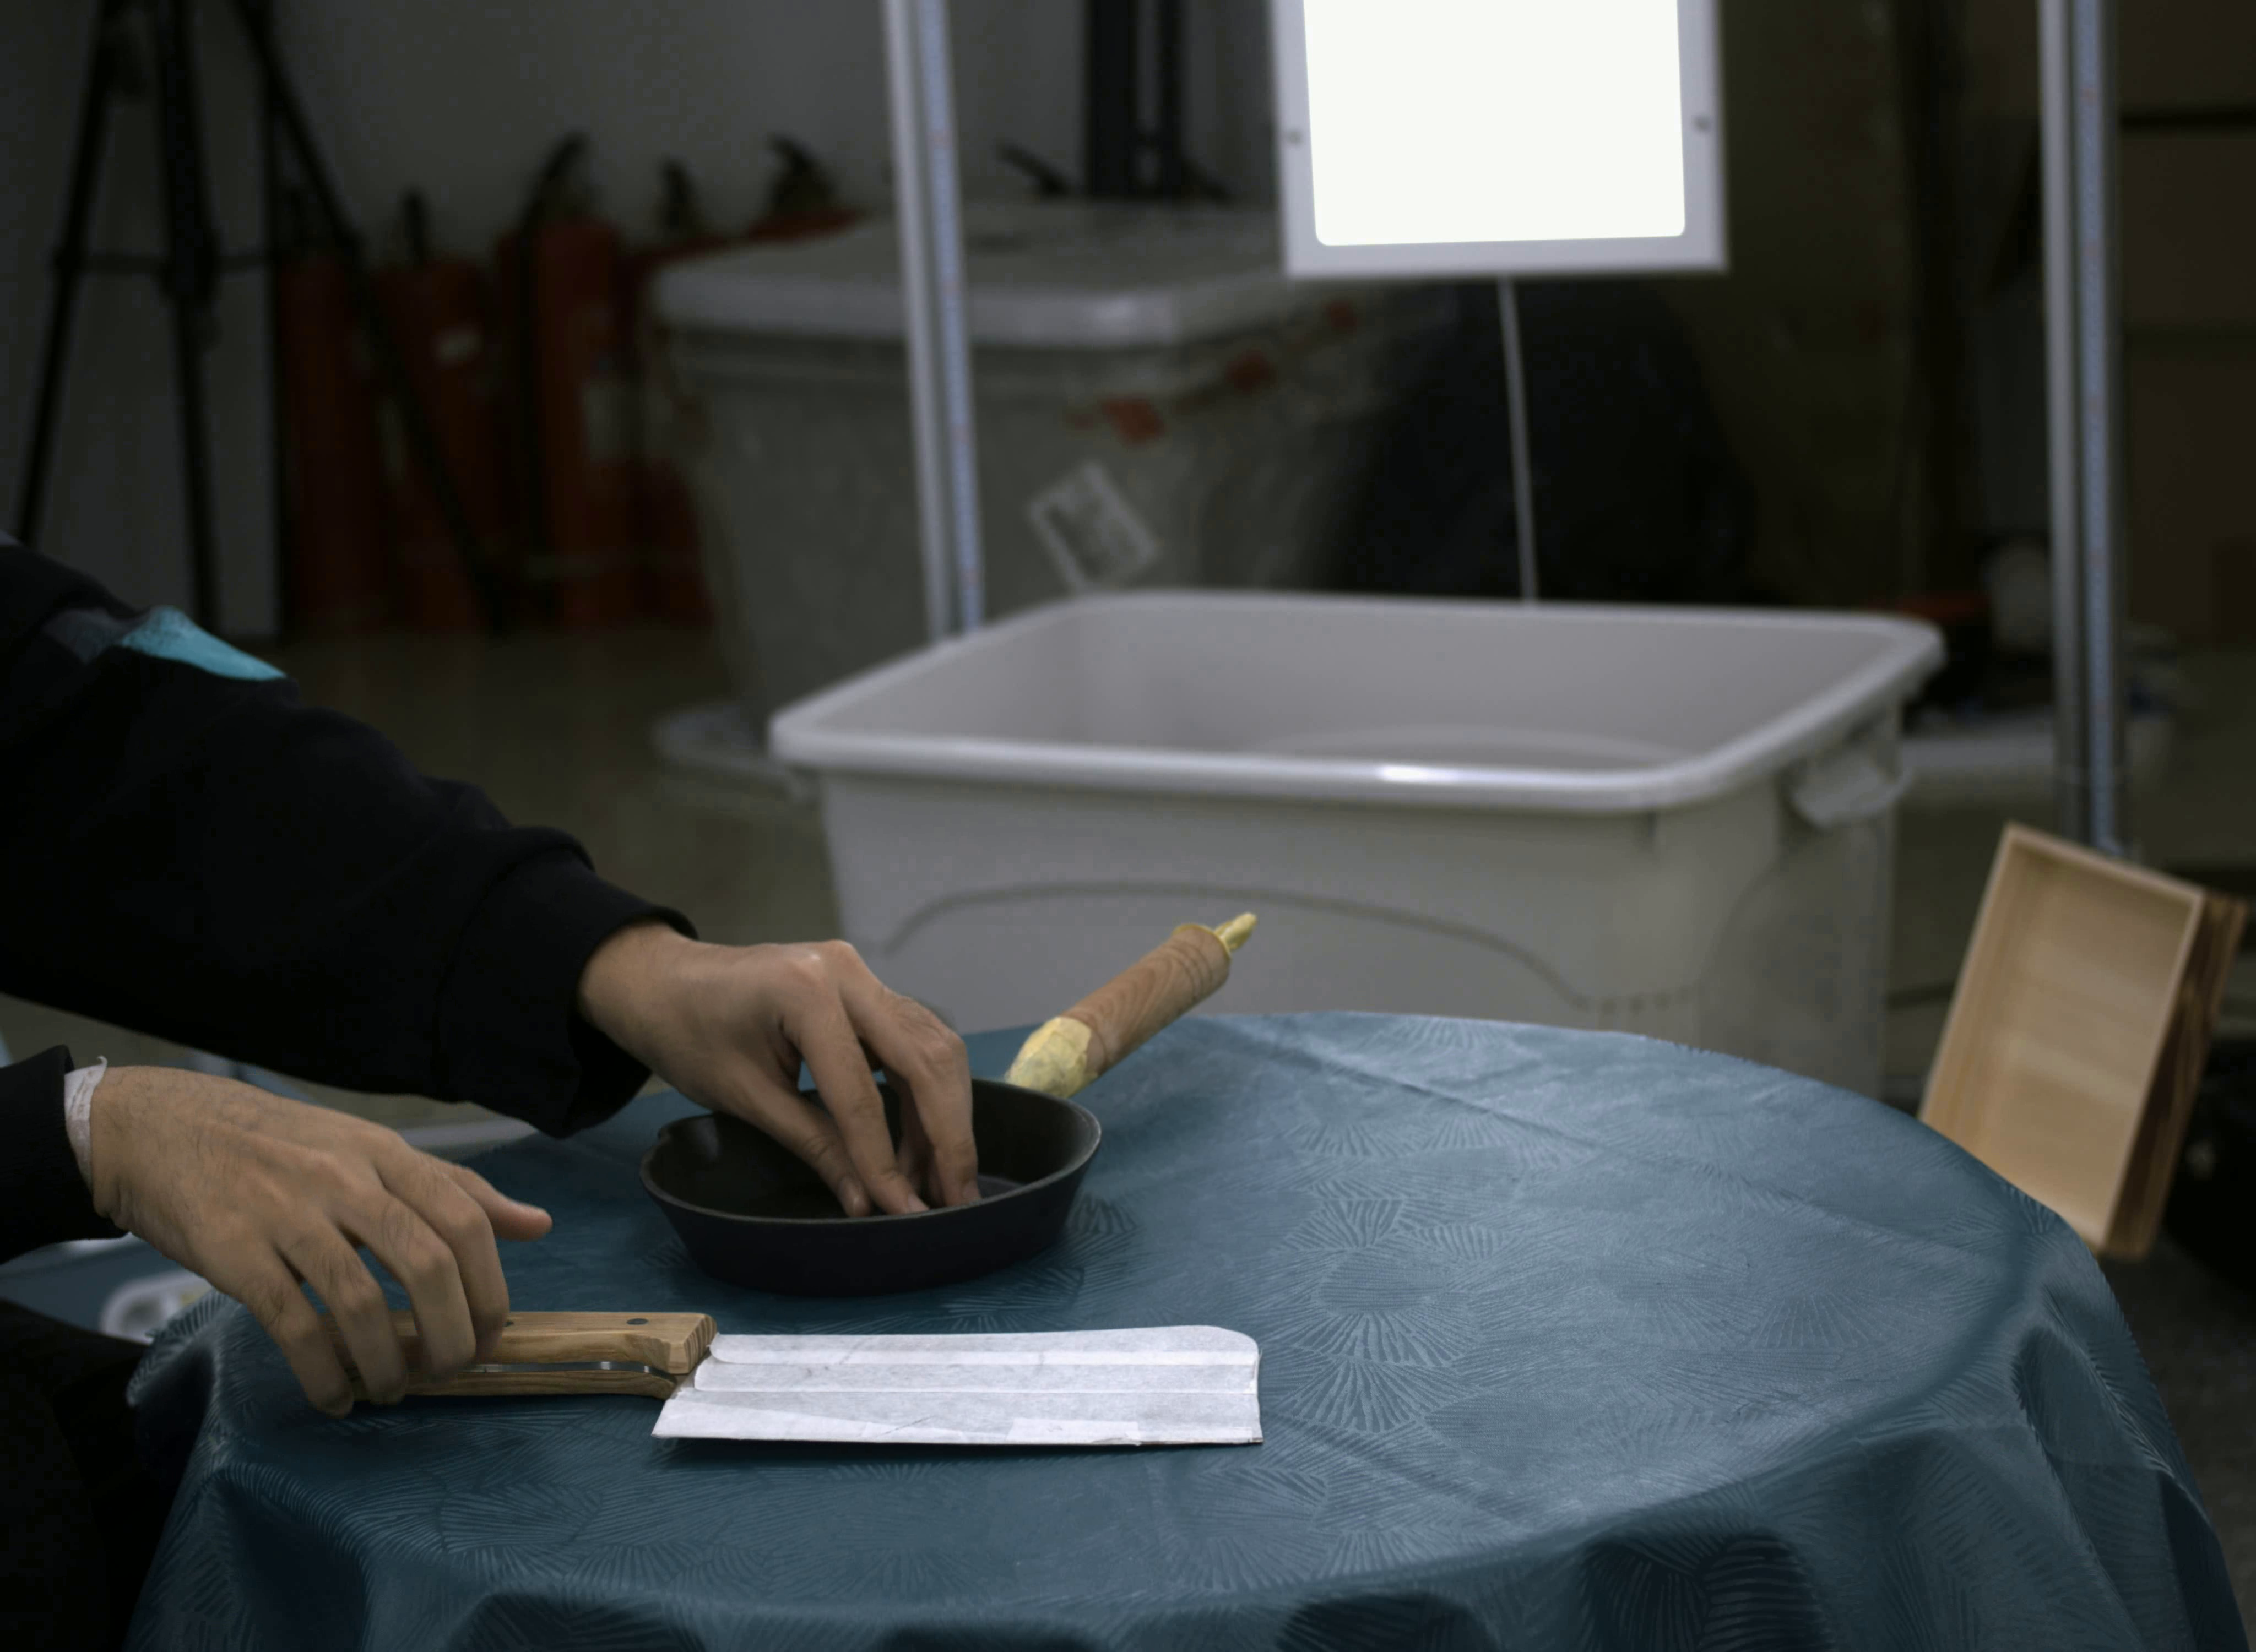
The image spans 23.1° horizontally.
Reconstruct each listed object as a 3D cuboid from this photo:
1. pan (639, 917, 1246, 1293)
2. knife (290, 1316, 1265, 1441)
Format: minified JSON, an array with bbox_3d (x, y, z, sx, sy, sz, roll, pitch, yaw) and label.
[{"bbox_3d":[-0.042,0.096,1.933,0.172,0.050,0.316,3,17,34],"label":"pan"},{"bbox_3d":[-0.109,0.171,1.718,0.317,0.022,0.113,0,15,11],"label":"knife"}]
